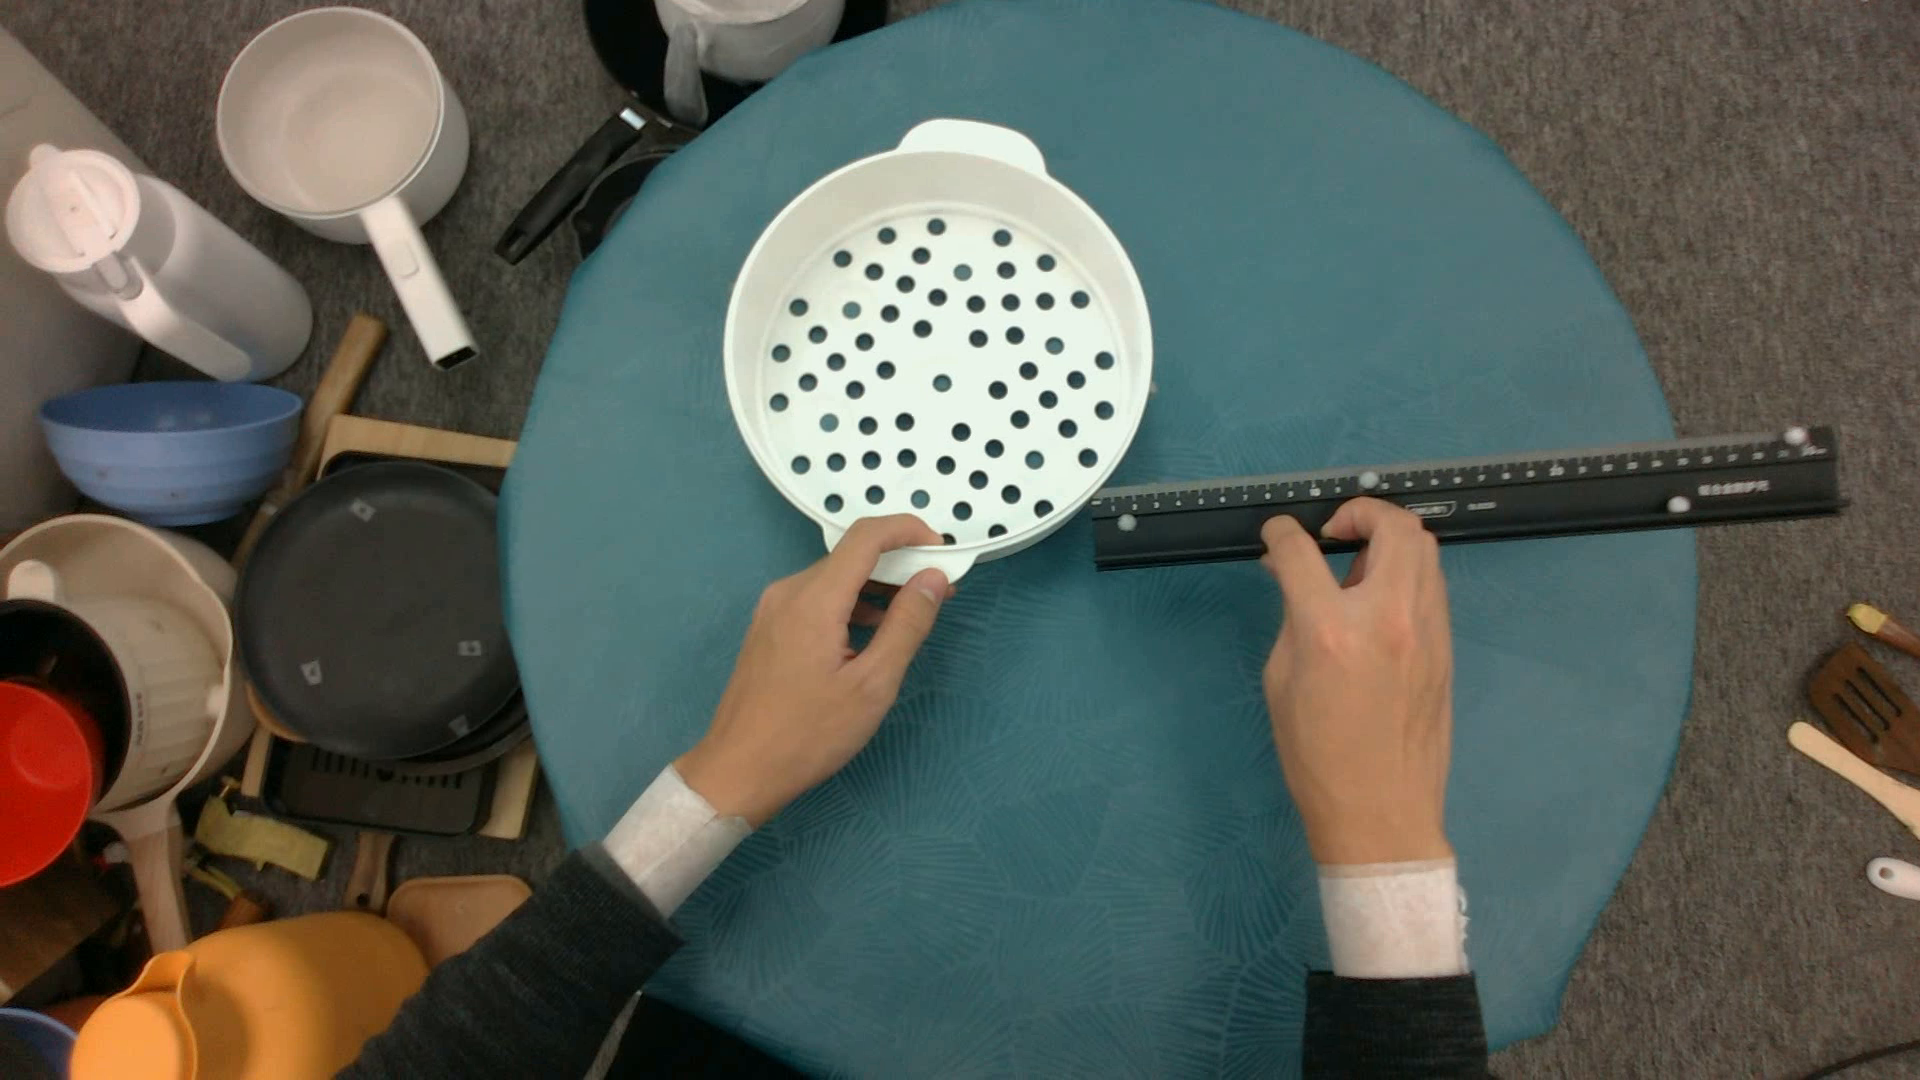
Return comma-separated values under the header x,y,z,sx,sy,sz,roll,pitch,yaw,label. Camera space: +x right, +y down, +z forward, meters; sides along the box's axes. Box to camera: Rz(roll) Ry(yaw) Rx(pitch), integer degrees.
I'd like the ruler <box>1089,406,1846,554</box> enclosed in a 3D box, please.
x,y,z,sx,sy,sz,roll,pitch,yaw,label
0.212,-0.025,0.598,0.312,0.017,0.039,-5,92,11,ruler

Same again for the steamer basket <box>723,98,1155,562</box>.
x,y,z,sx,sy,sz,roll,pitch,yaw,label
-0.010,-0.097,0.671,0.202,0.069,0.231,12,78,2,steamer basket
